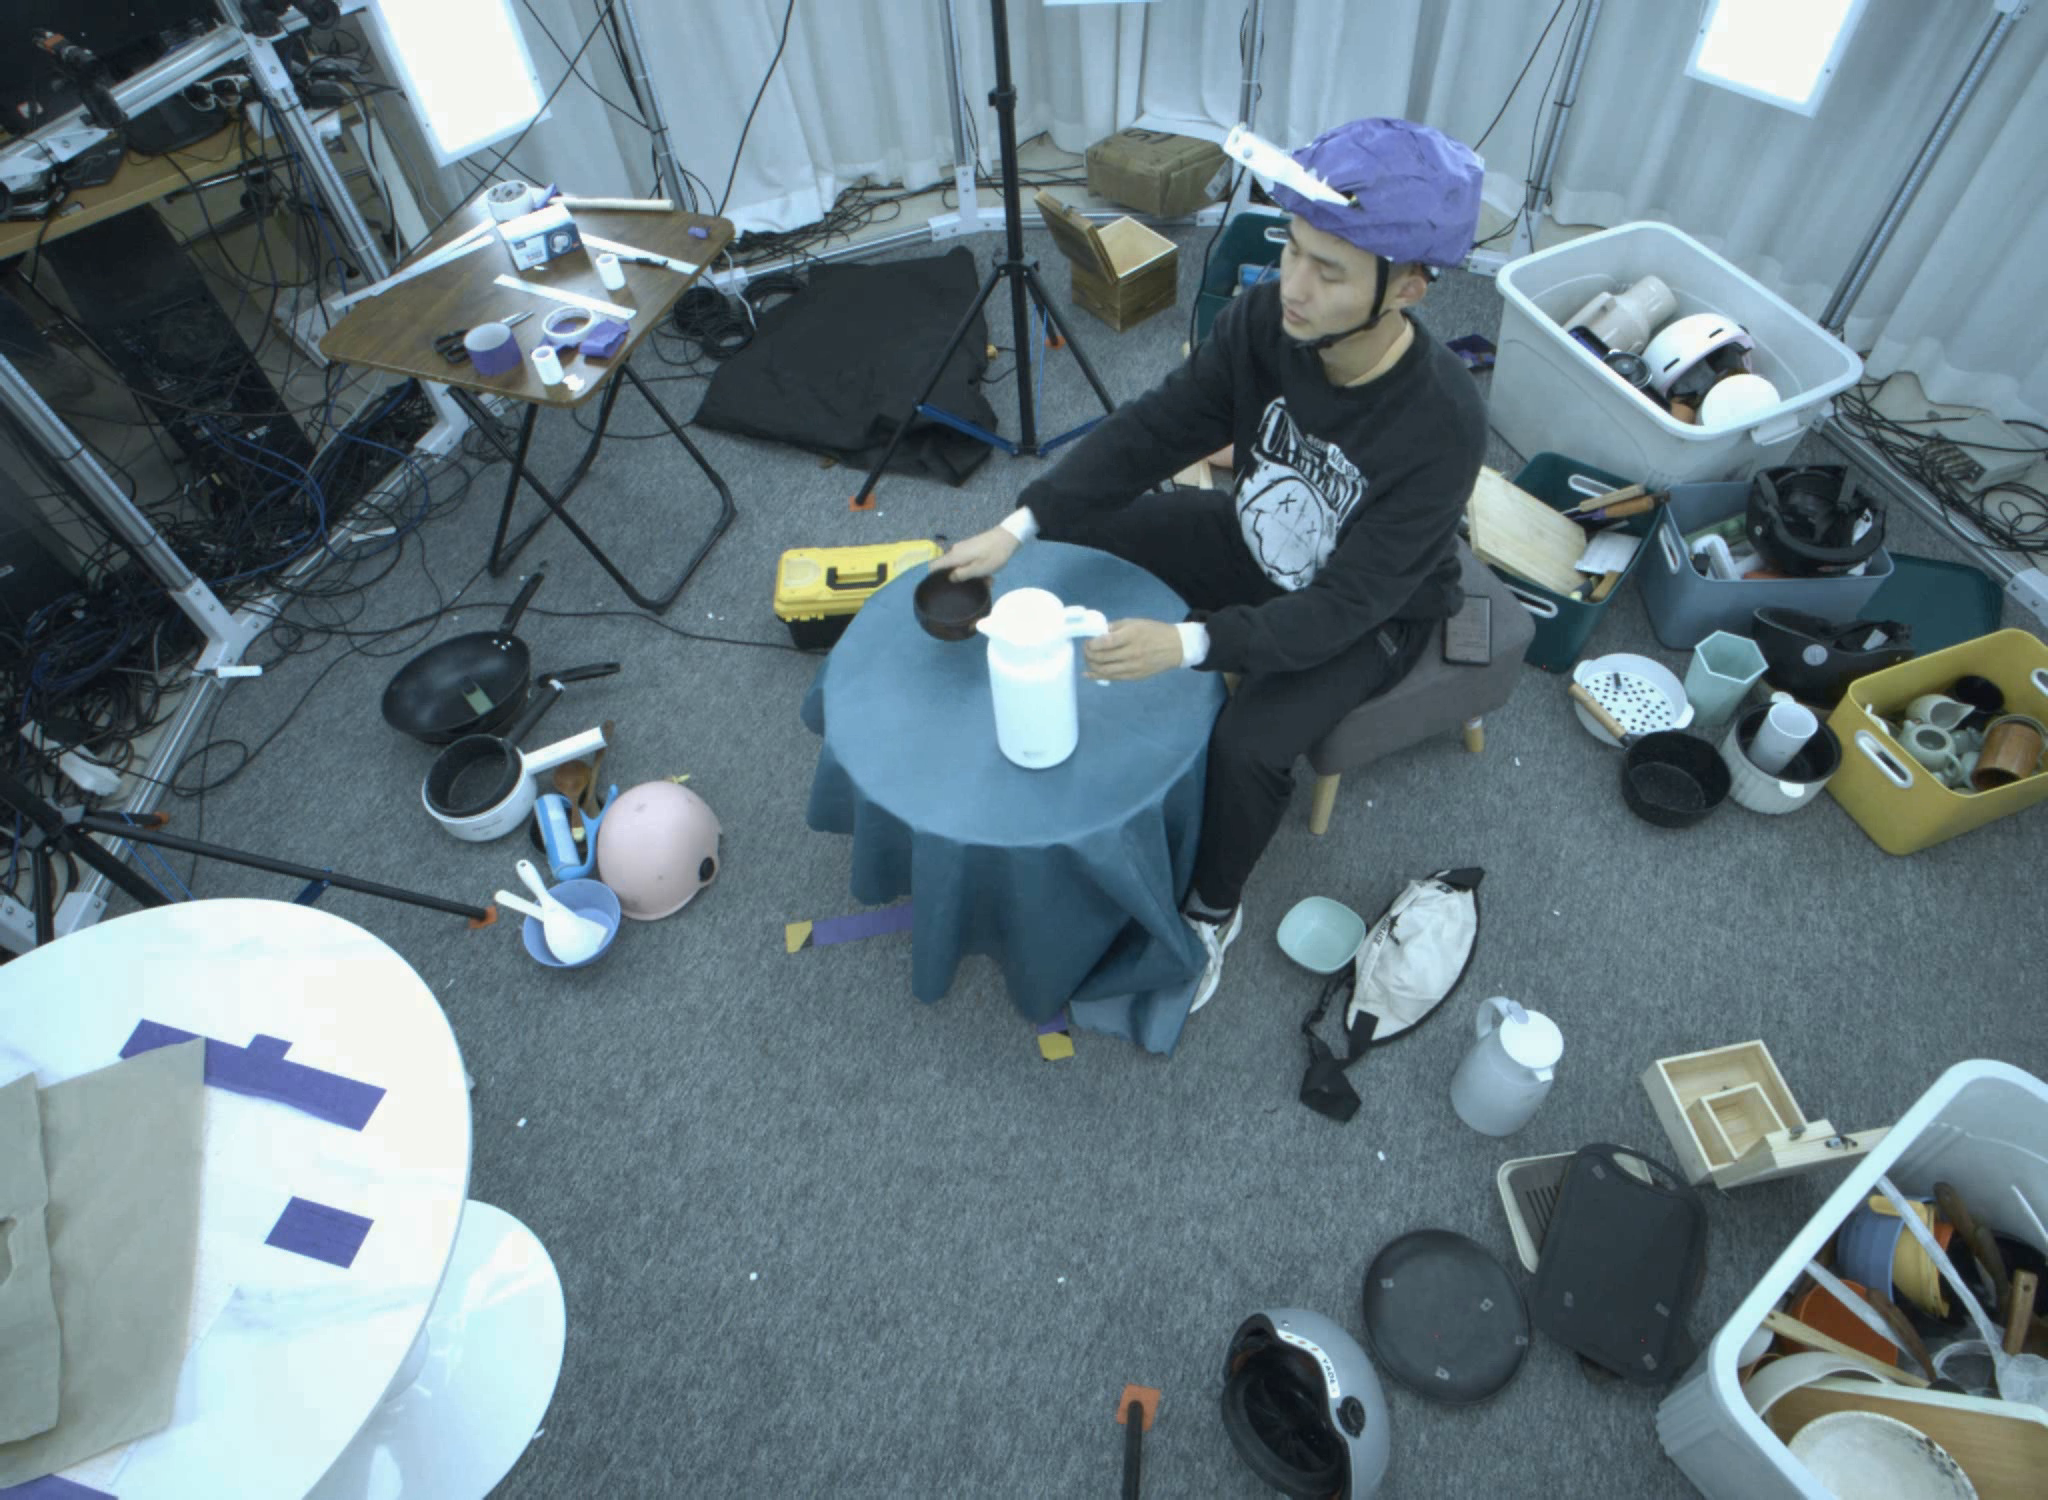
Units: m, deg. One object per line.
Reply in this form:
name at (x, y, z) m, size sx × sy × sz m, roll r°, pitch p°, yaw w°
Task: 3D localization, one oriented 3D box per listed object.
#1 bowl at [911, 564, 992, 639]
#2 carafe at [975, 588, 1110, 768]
bowl at (-0.107, -0.213, 1.825) m, size 0.118 × 0.070 × 0.117 m, roll 0°, pitch 55°, yaw 2°
carafe at (0.030, -0.098, 1.687) m, size 0.173 × 0.272 × 0.122 m, roll -8°, pitch 52°, yaw -2°
